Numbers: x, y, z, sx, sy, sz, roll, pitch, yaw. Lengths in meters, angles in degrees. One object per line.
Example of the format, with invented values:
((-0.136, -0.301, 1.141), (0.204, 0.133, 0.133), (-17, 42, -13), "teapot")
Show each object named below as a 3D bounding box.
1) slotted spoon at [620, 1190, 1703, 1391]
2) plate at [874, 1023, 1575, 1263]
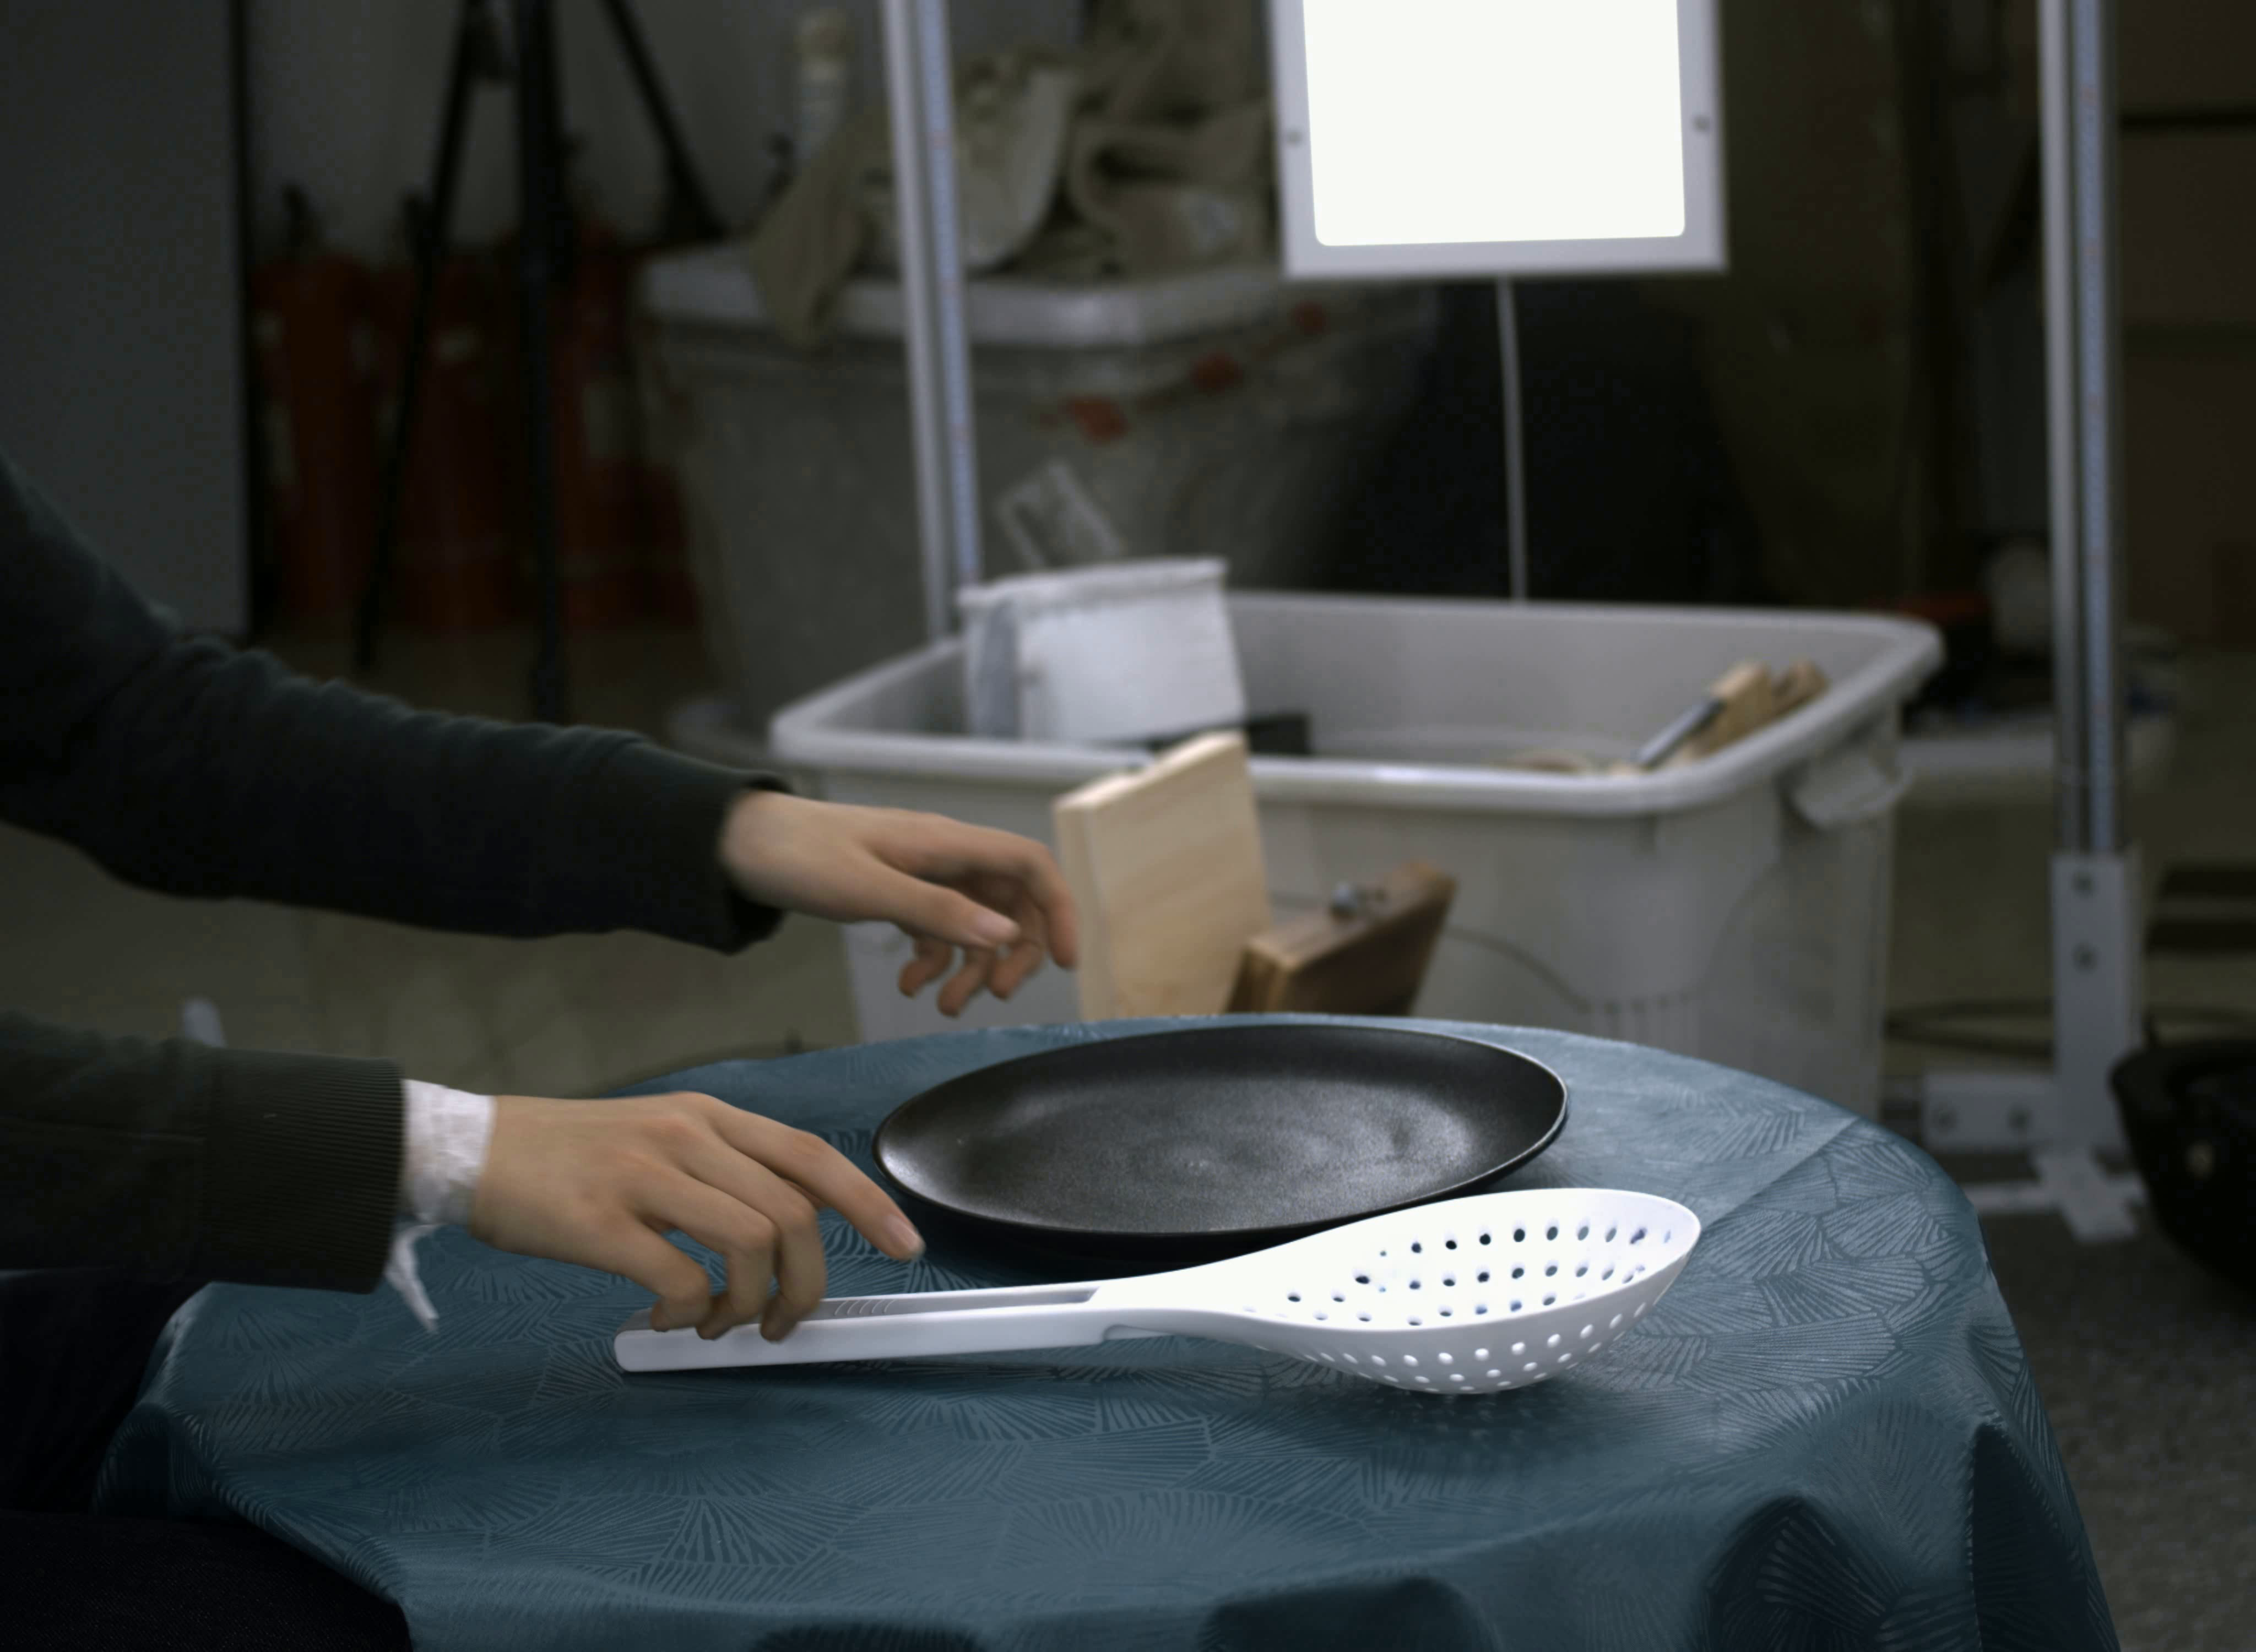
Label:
((0.006, 0.148, 1.710), (0.354, 0.046, 0.134), (-1, 12, 18), "slotted spoon")
((0.034, 0.112, 1.898), (0.244, 0.023, 0.244), (-5, 14, 0), "plate")
